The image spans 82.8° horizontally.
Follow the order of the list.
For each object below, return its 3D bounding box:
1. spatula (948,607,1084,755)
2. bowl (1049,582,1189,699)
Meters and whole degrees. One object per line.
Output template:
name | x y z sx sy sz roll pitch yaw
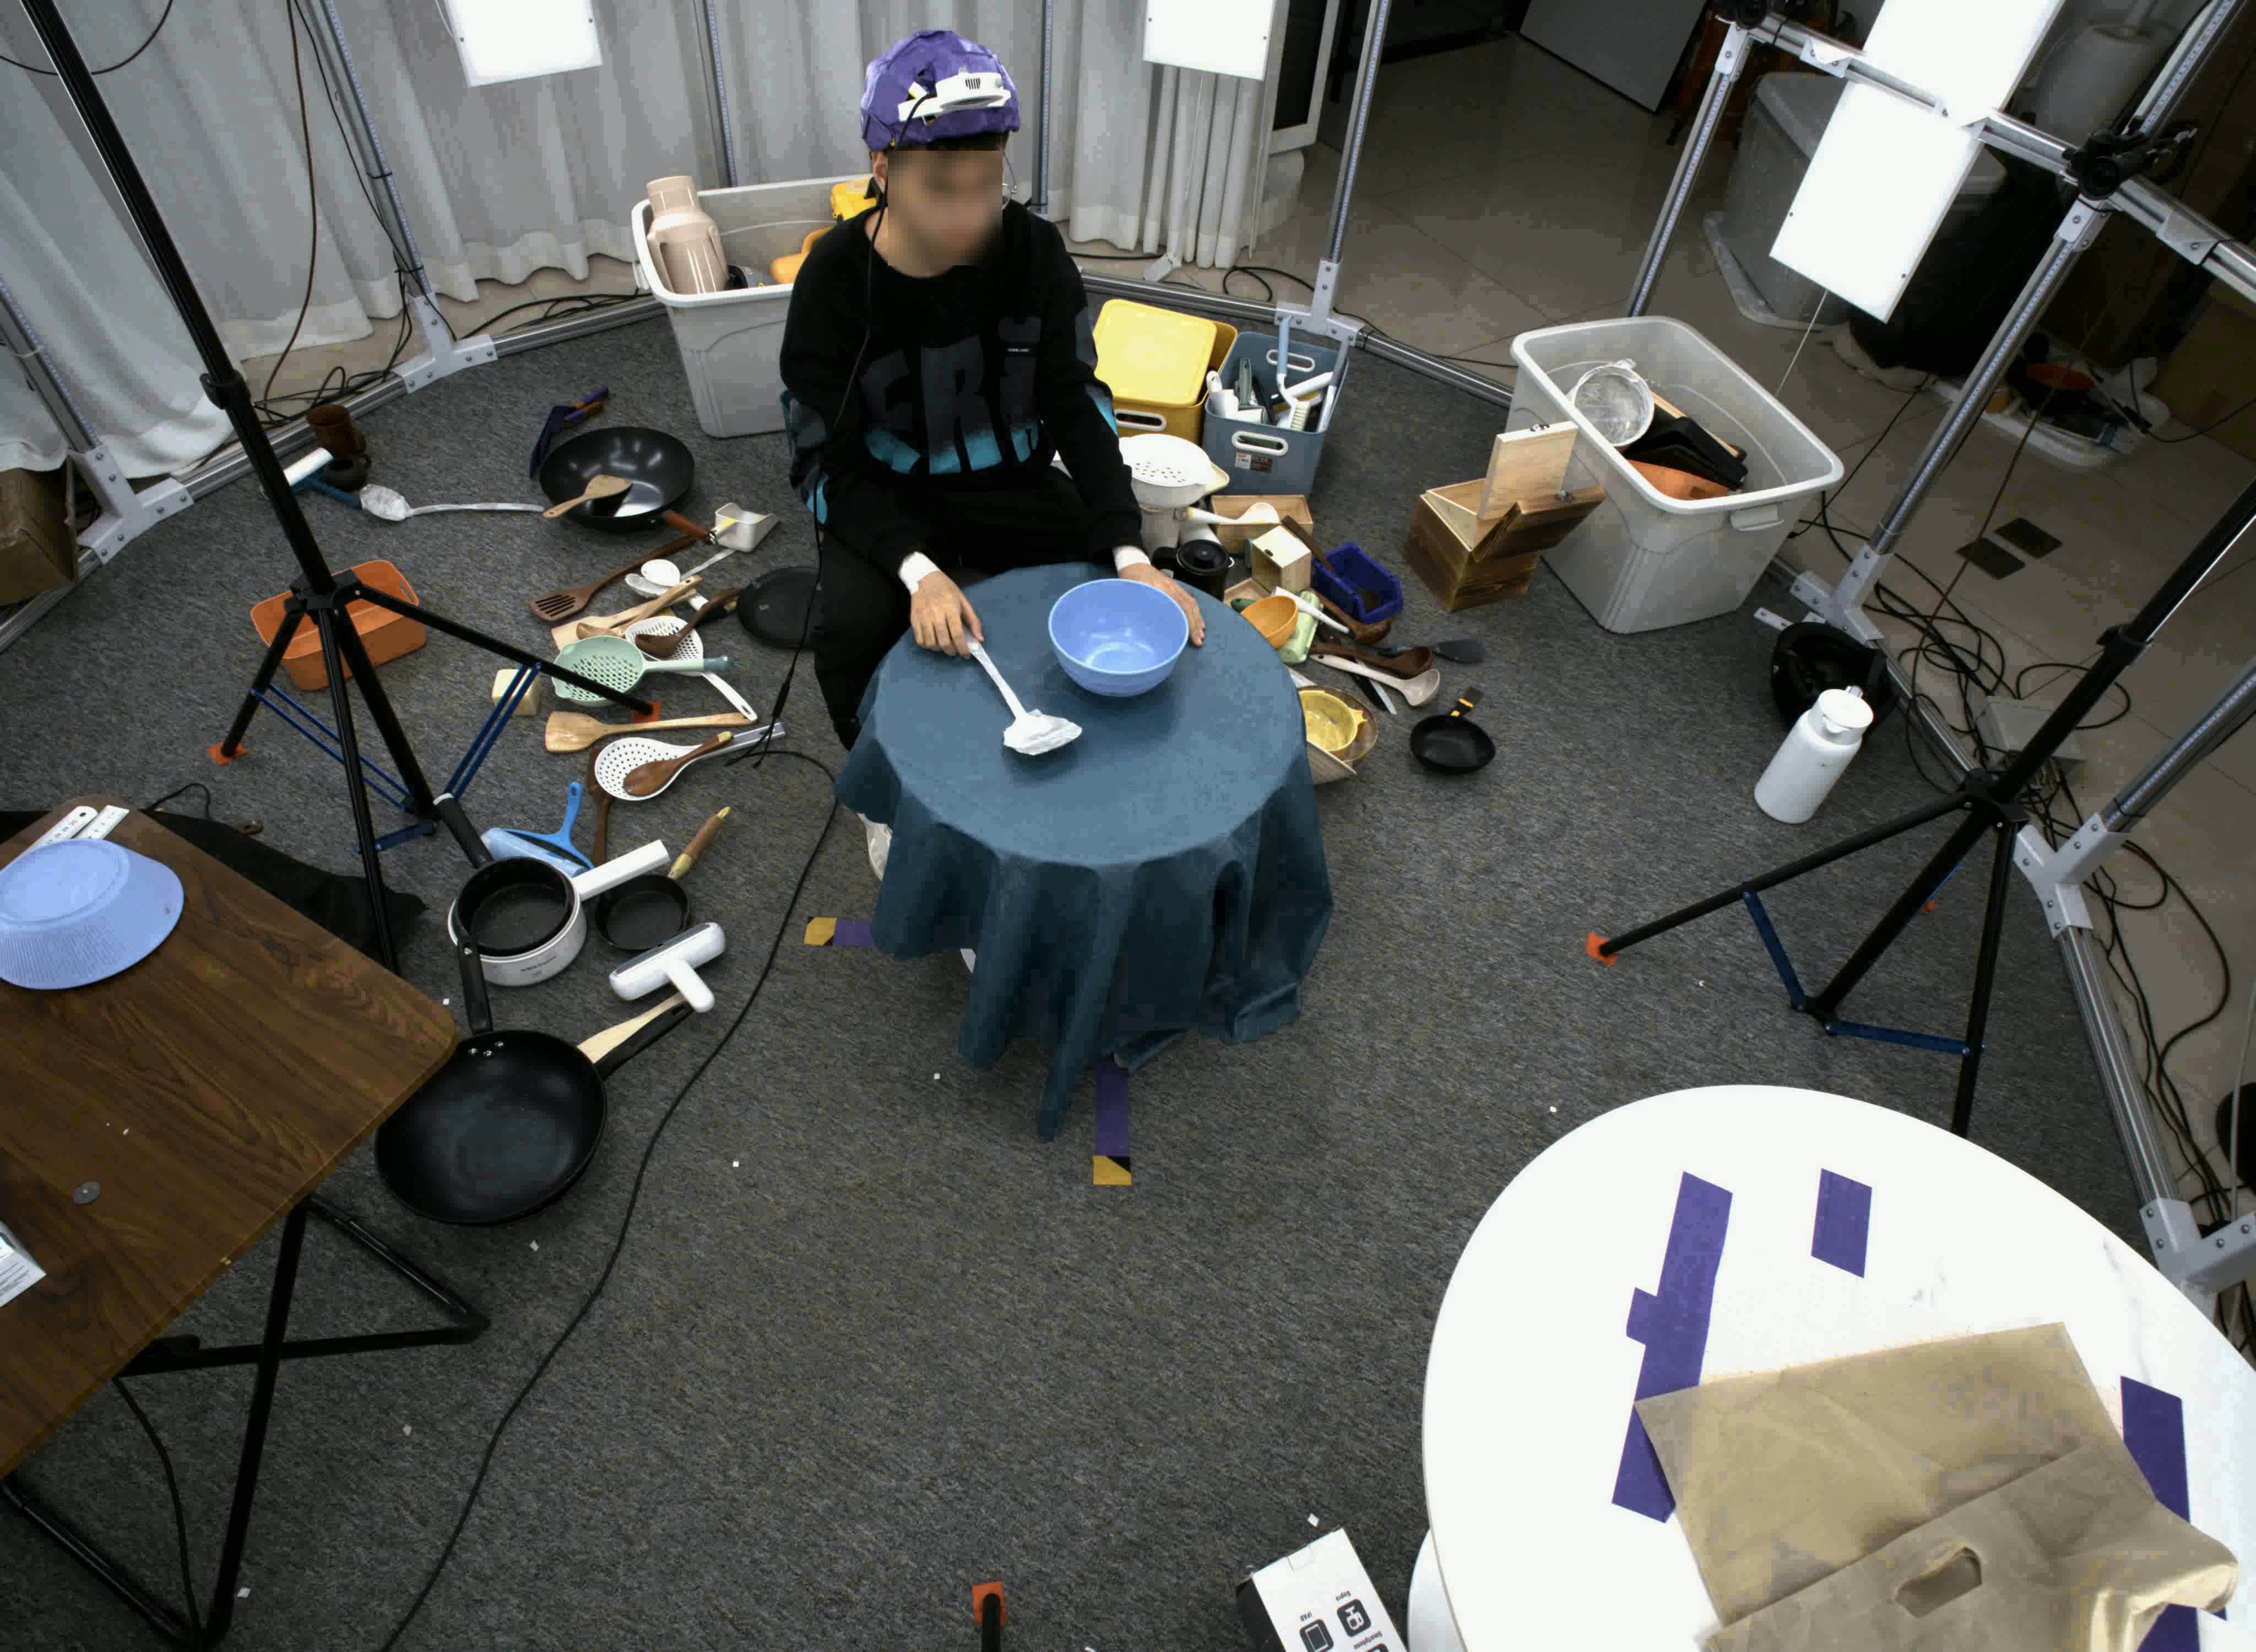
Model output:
spatula | -0.183 -0.217 1.836 0.099 0.043 0.373 -22 54 -19
bowl | -0.014 -0.251 1.842 0.196 0.093 0.201 1 50 -2
